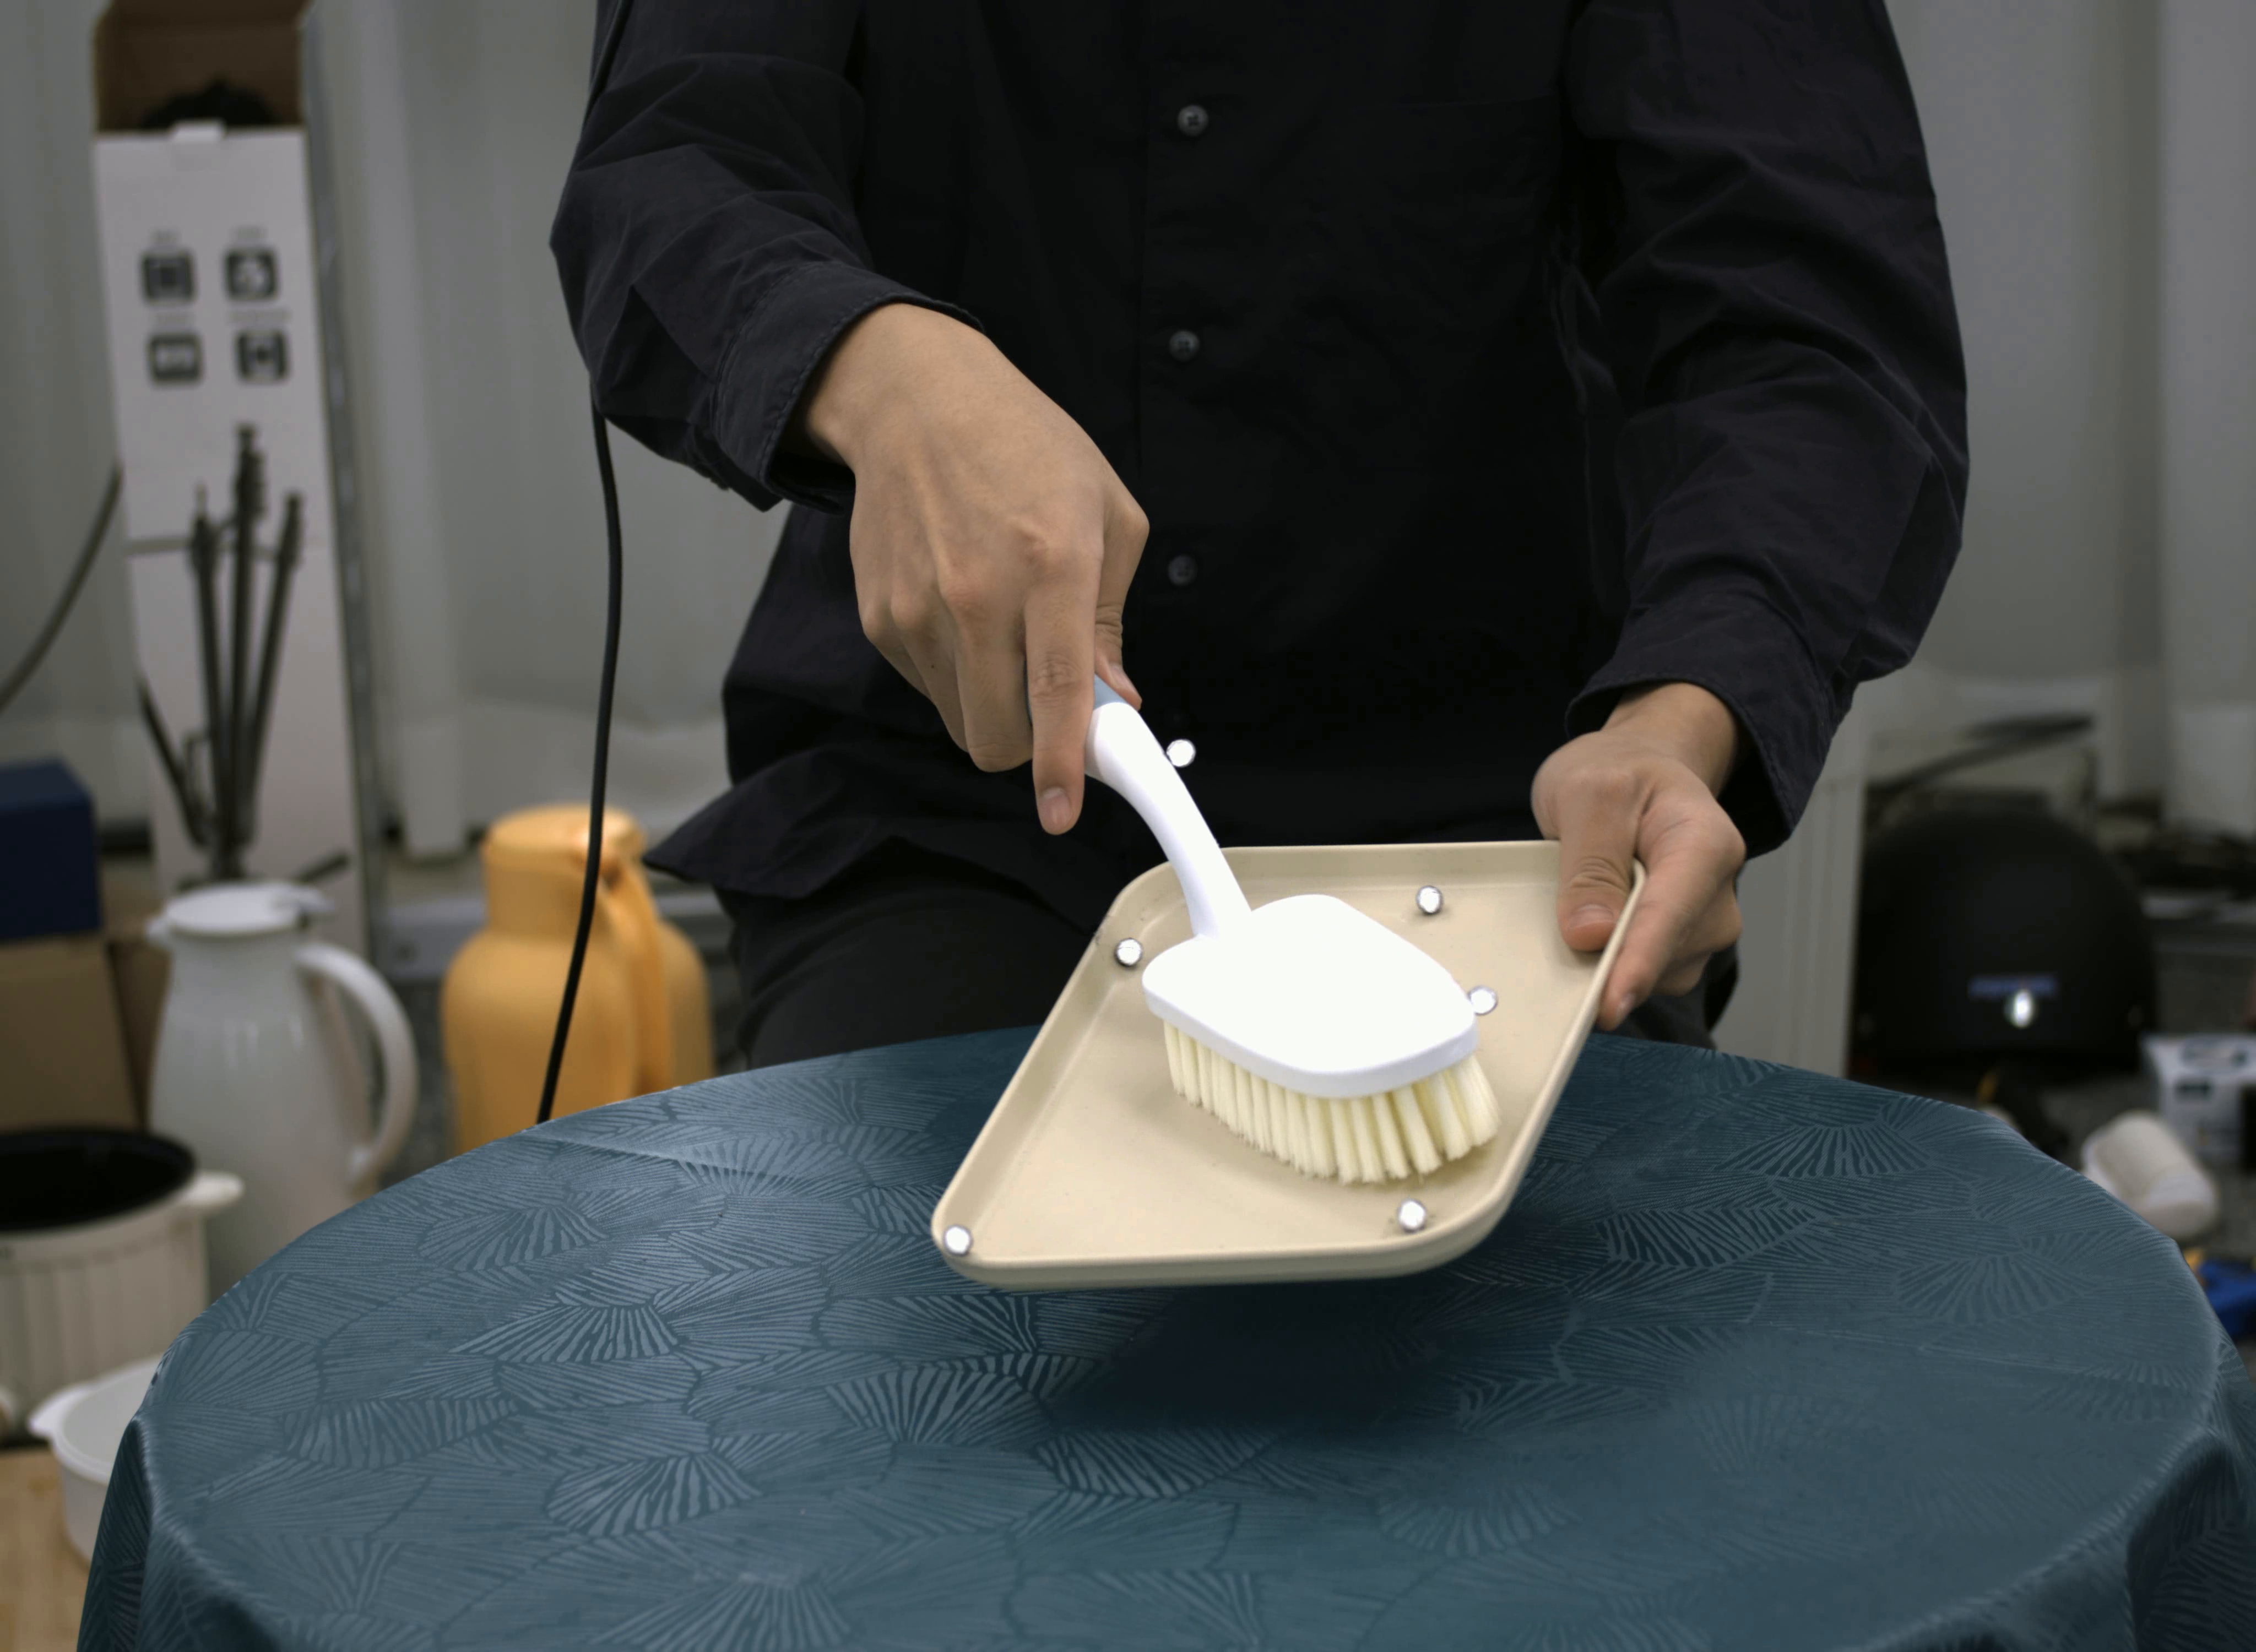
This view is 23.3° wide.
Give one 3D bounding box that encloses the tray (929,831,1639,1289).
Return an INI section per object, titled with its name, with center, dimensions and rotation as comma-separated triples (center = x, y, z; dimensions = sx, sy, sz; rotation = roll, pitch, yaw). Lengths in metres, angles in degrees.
[tray]
center = 0.050, 0.068, 1.598
dimensions = 0.171, 0.017, 0.242
rotation = -3, 27, 21

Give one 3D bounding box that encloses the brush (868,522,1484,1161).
[brush]
center = 0.012, 0.012, 1.649
dimensions = 0.082, 0.084, 0.329
rotation = 14, 19, -39
